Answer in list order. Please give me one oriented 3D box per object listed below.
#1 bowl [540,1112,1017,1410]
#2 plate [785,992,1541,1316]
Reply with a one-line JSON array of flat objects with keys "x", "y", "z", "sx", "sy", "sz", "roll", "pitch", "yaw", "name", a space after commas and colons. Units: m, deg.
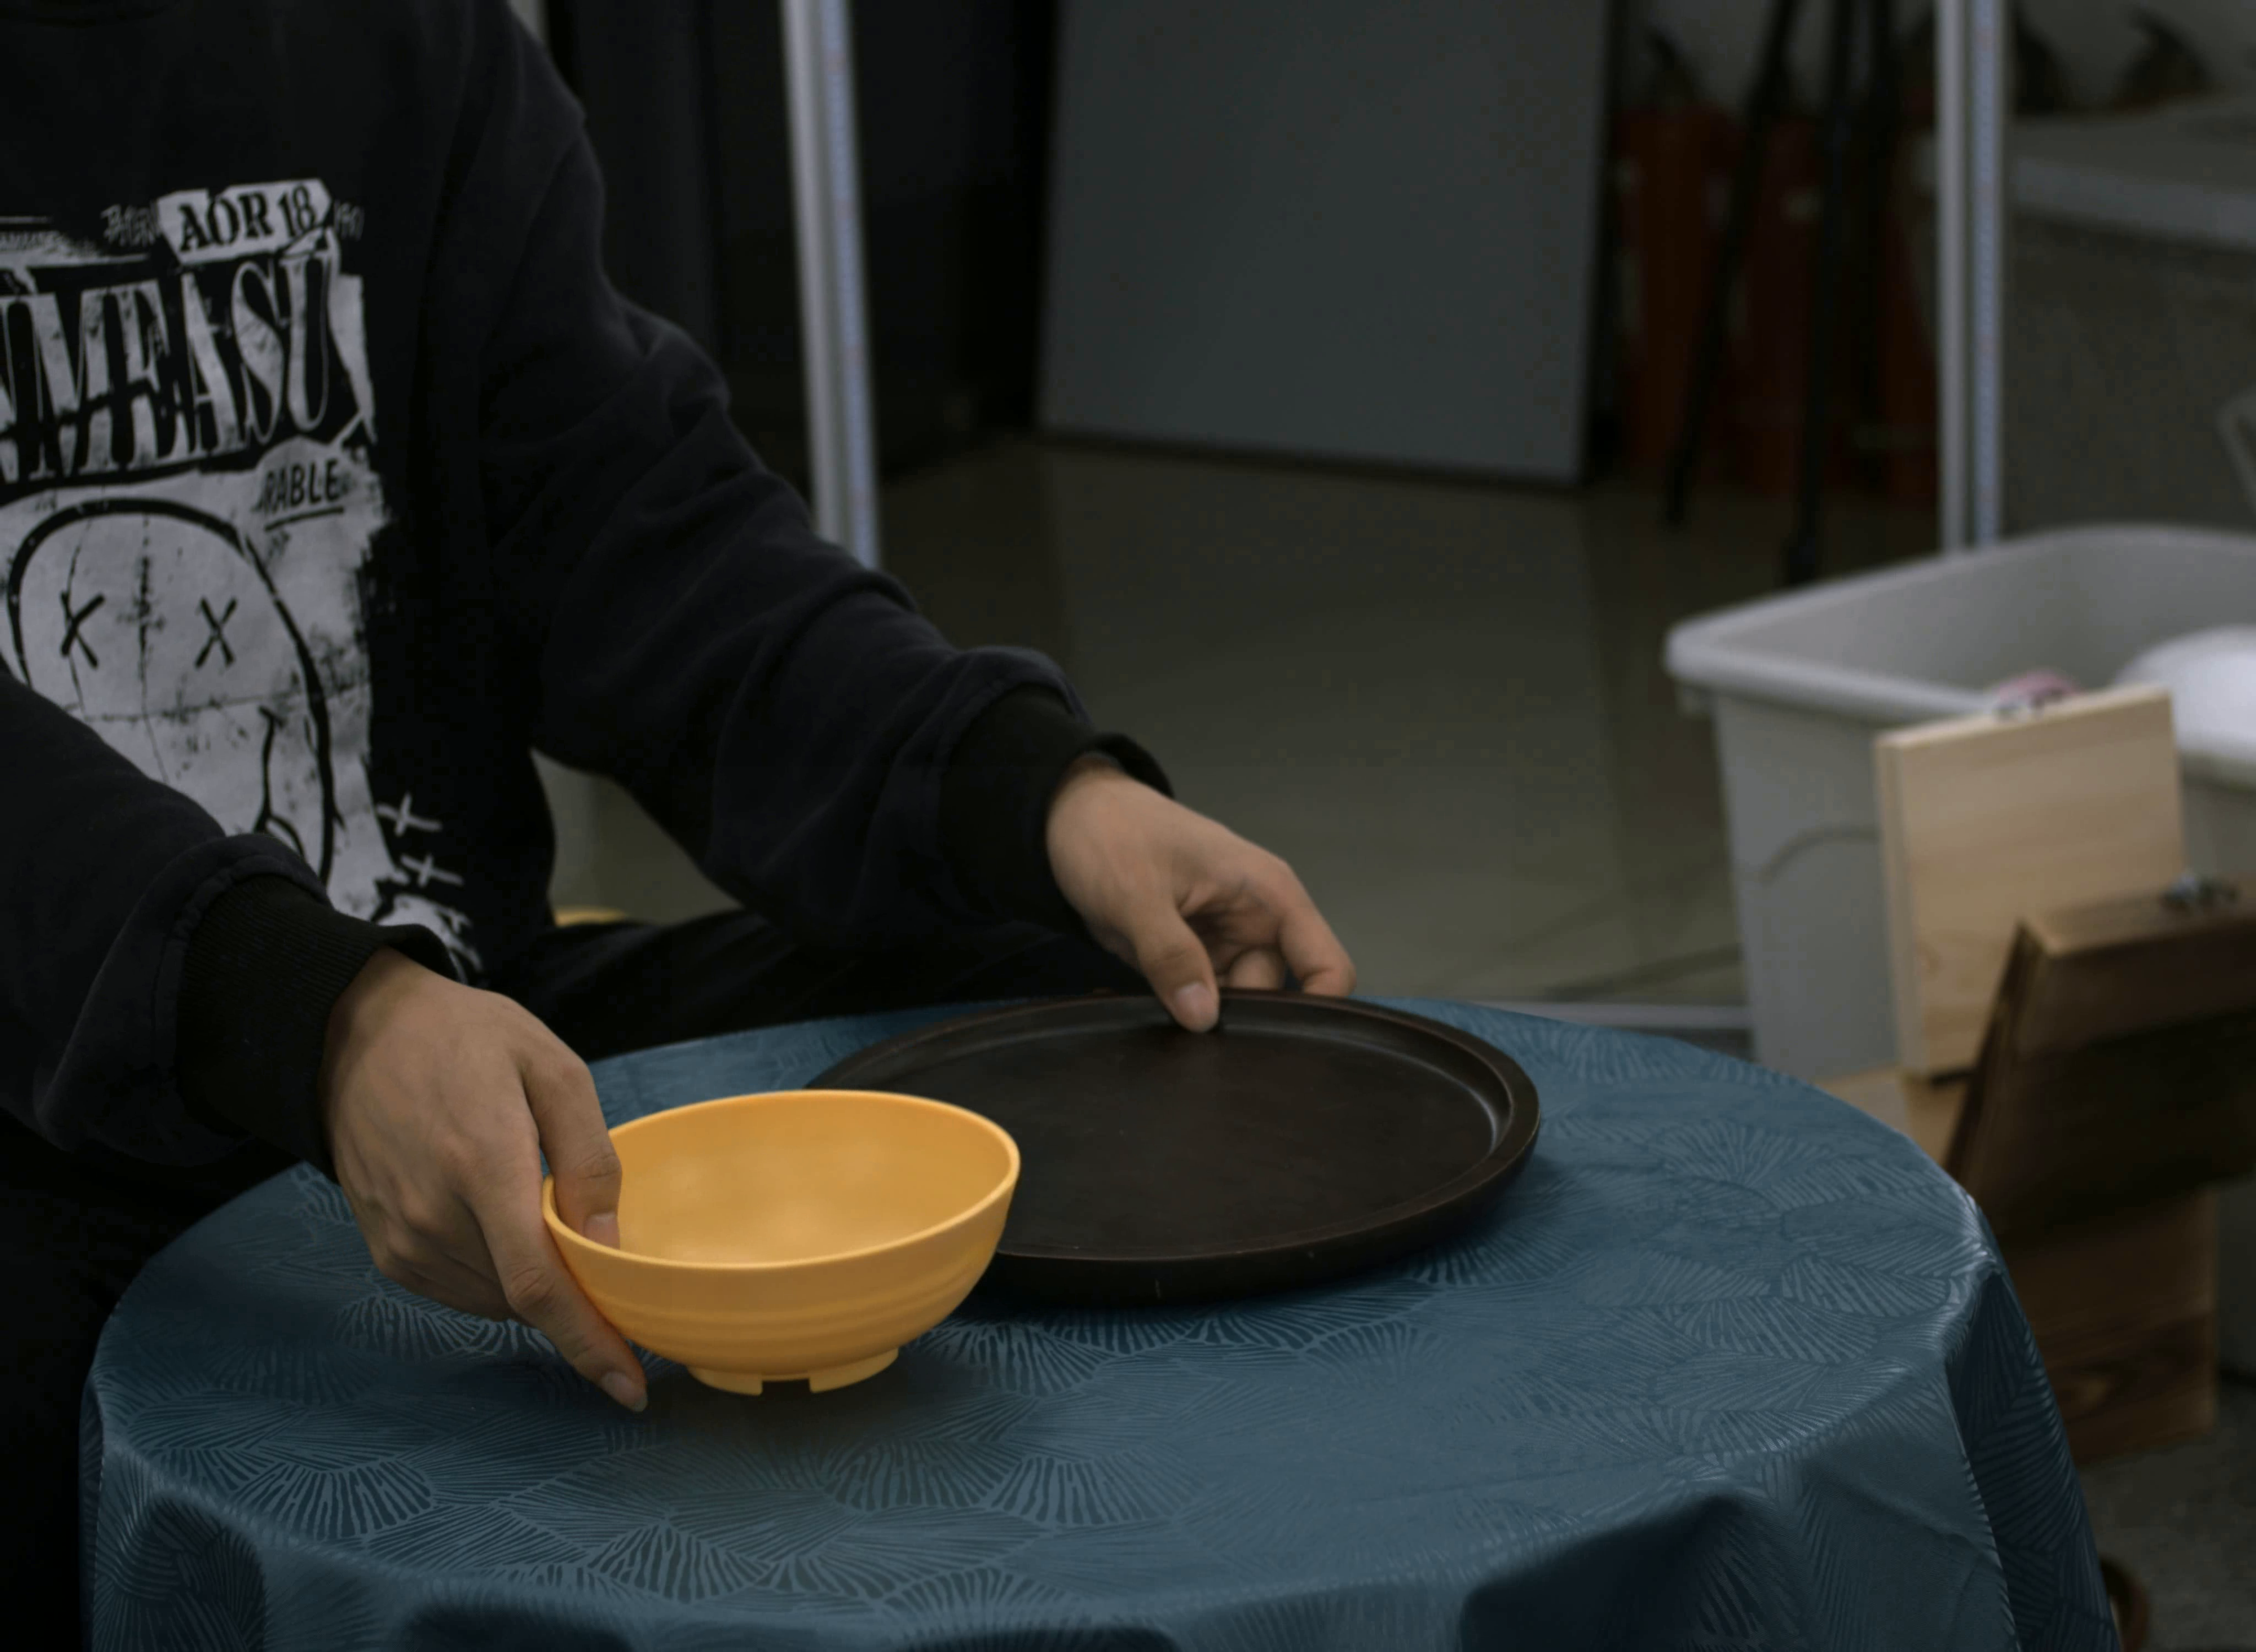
[{"x": -0.101, "y": 0.134, "z": 1.608, "sx": 0.143, "sy": 0.061, "sz": 0.145, "roll": -5, "pitch": 15, "yaw": 0, "name": "bowl"}, {"x": 0.011, "y": 0.105, "z": 1.763, "sx": 0.251, "sy": 0.029, "sz": 0.255, "roll": -5, "pitch": 17, "yaw": 1, "name": "plate"}]
